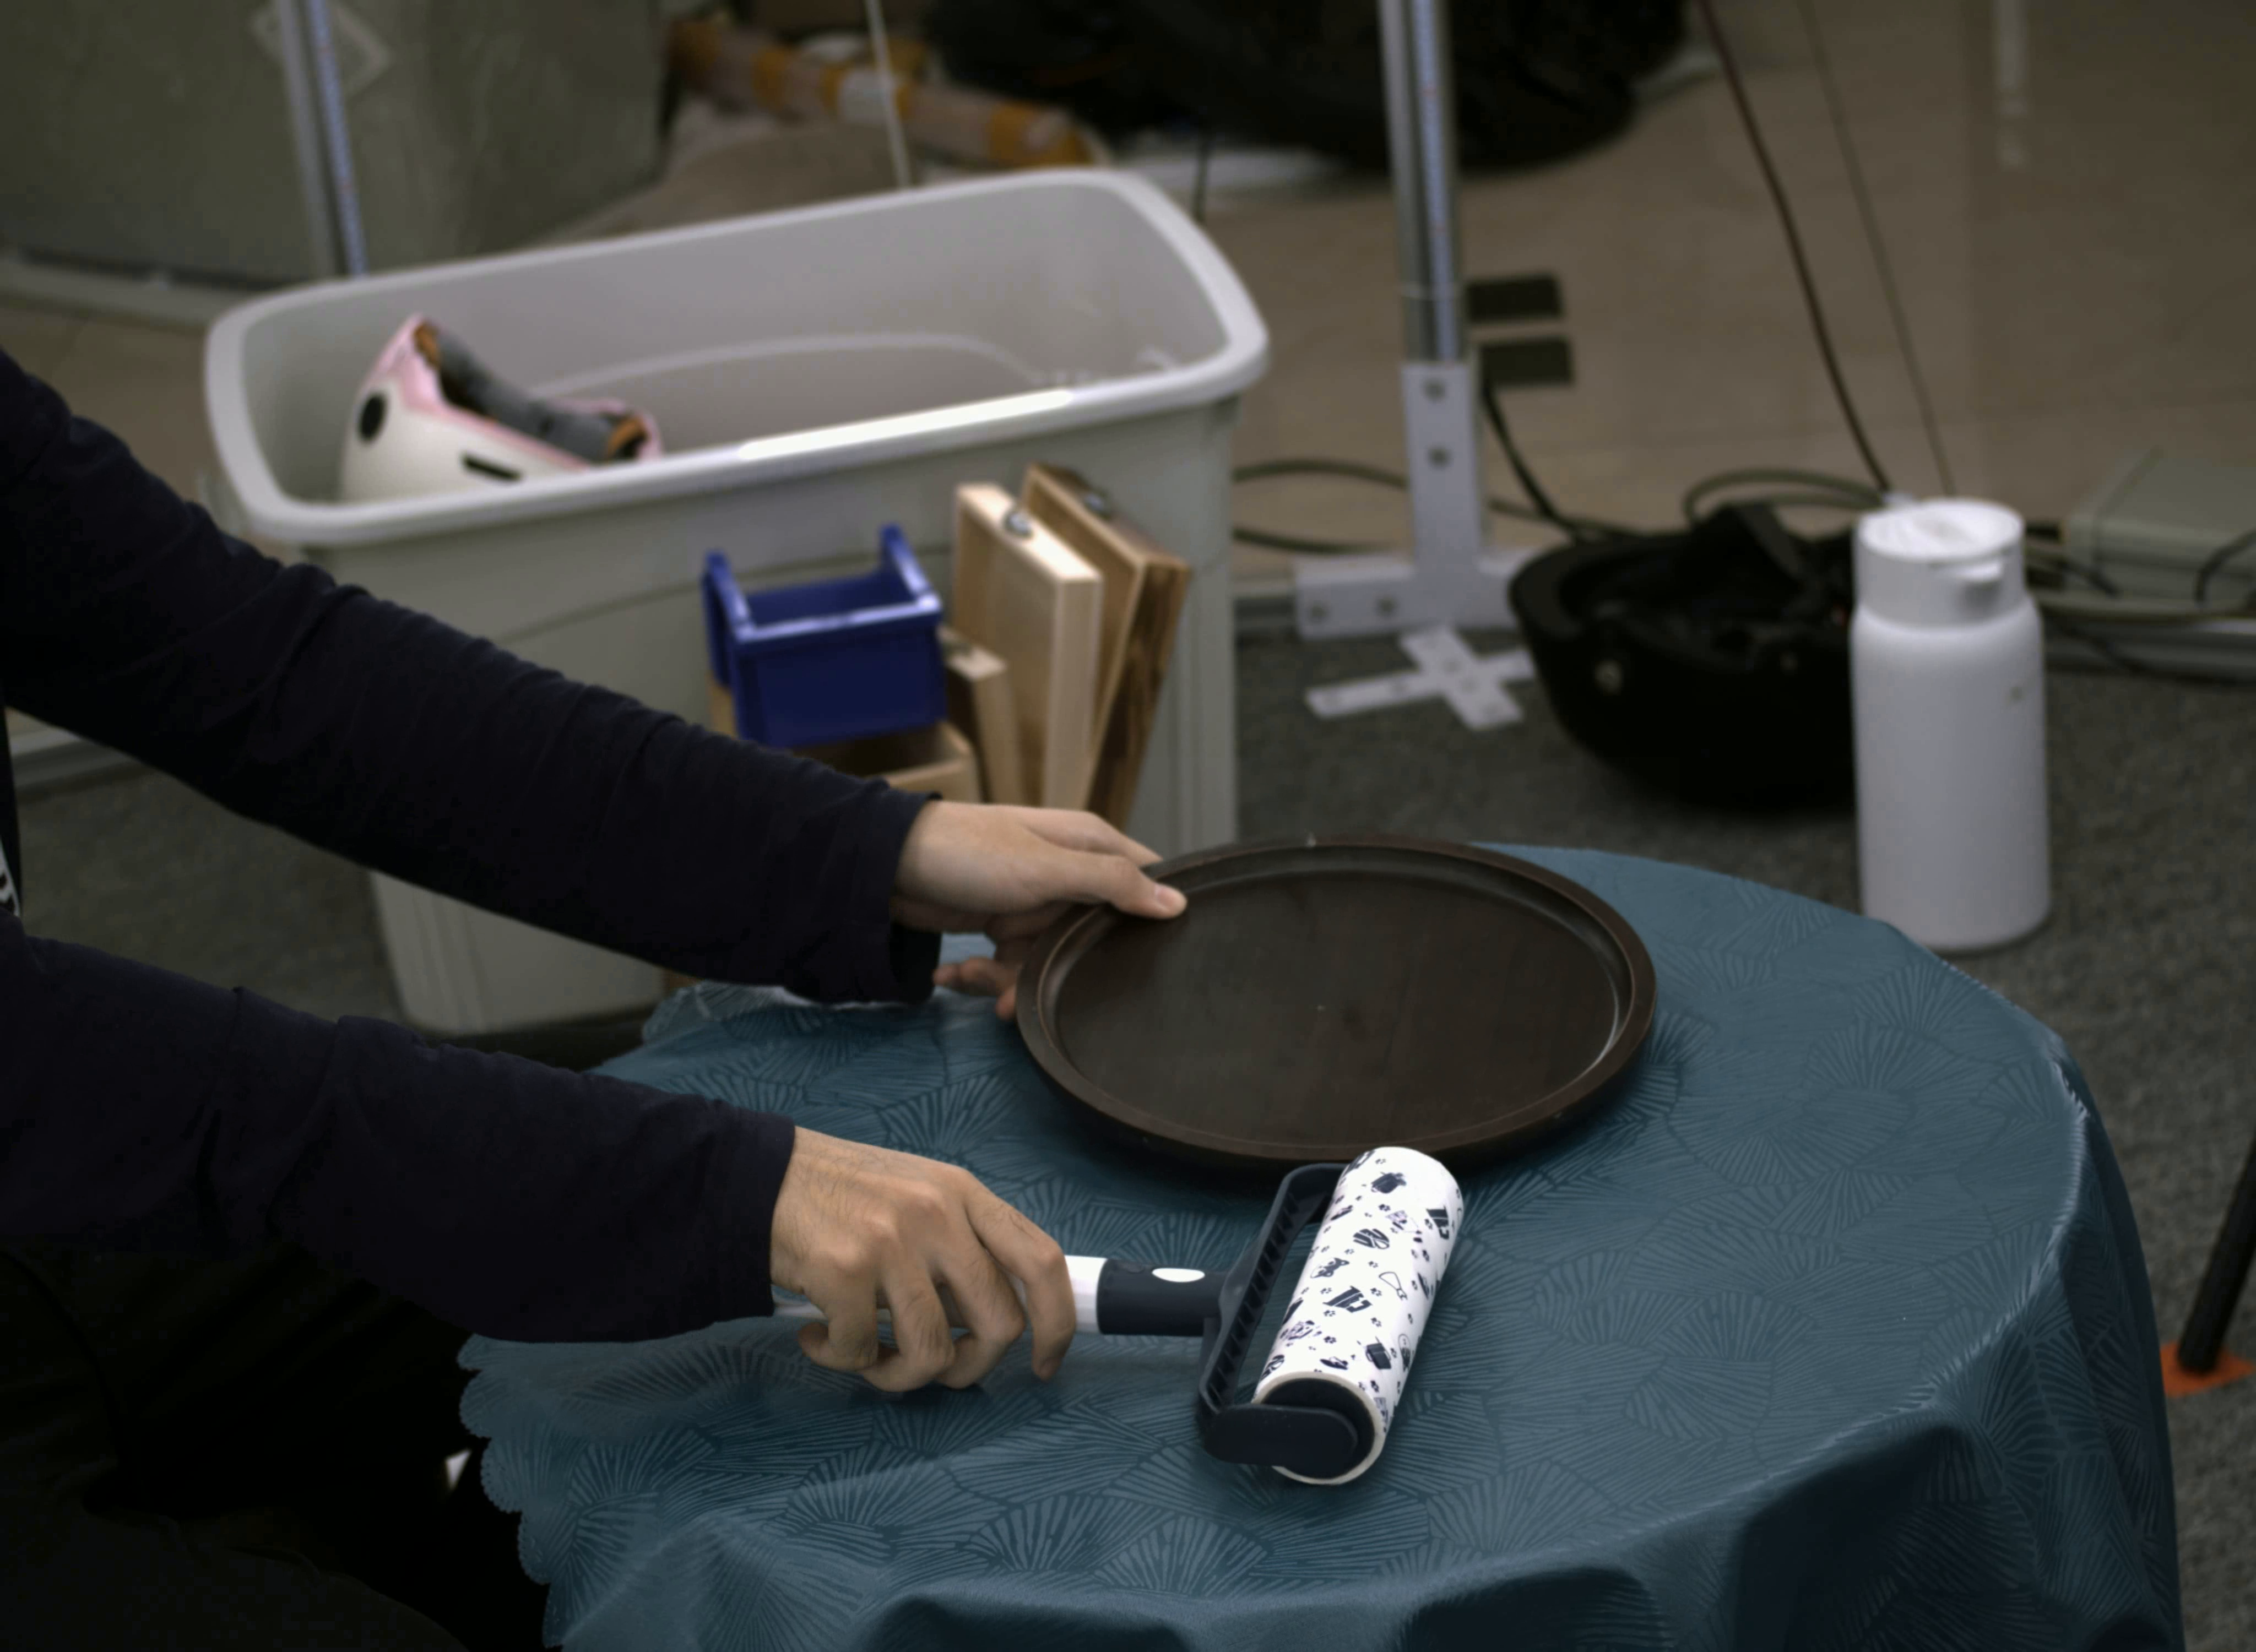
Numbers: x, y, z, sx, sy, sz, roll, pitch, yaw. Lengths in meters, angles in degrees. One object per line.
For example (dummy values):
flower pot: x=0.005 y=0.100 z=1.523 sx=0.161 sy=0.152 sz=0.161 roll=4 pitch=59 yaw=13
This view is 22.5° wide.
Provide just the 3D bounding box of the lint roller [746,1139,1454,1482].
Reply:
lint roller: x=-0.018 y=0.167 z=2.025 sx=0.246 sy=0.051 sz=0.174 roll=2 pitch=27 yaw=12

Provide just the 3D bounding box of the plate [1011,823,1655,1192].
plate: x=0.080 y=0.070 z=2.225 sx=0.254 sy=0.029 sz=0.250 roll=-3 pitch=29 yaw=2
